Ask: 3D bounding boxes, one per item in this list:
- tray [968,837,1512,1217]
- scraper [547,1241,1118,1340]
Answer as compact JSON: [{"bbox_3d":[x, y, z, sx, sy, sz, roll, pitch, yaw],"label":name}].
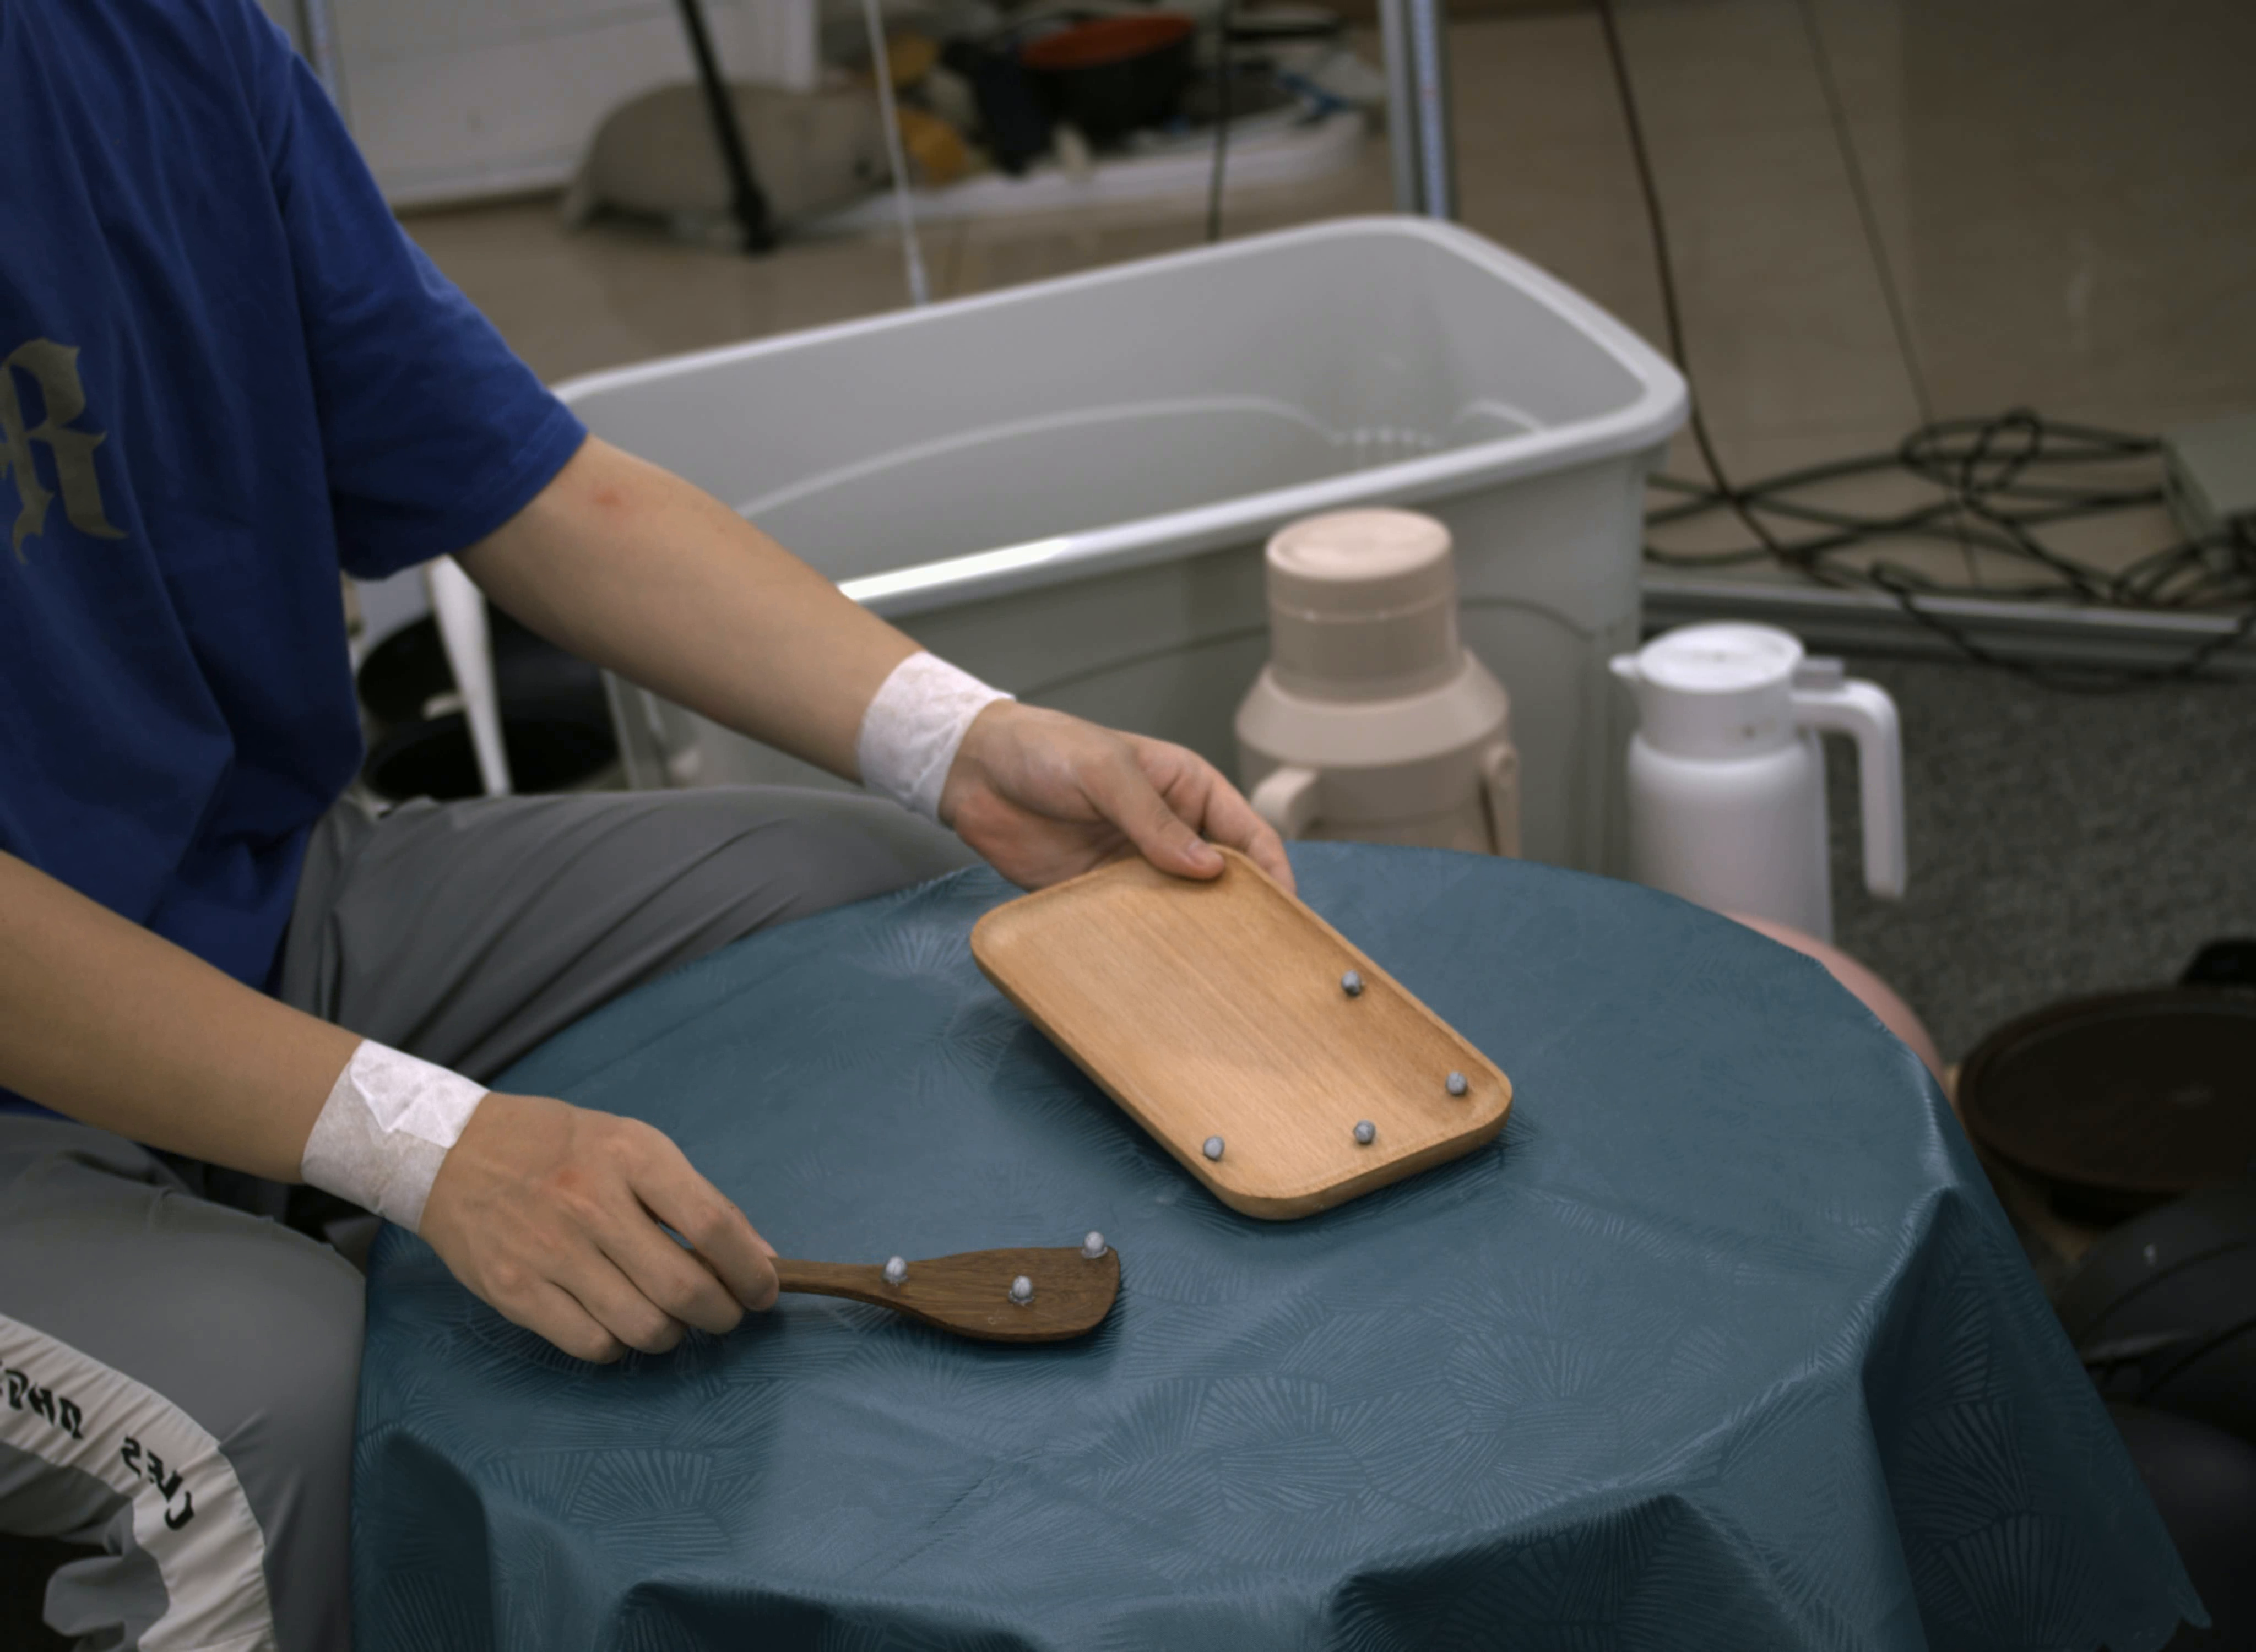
[{"bbox_3d":[0.041,0.076,2.216,0.130,0.023,0.247,-17,33,-23],"label":"tray"},{"bbox_3d":[-0.109,0.166,2.082,0.211,0.011,0.075,3,22,6],"label":"scraper"}]
